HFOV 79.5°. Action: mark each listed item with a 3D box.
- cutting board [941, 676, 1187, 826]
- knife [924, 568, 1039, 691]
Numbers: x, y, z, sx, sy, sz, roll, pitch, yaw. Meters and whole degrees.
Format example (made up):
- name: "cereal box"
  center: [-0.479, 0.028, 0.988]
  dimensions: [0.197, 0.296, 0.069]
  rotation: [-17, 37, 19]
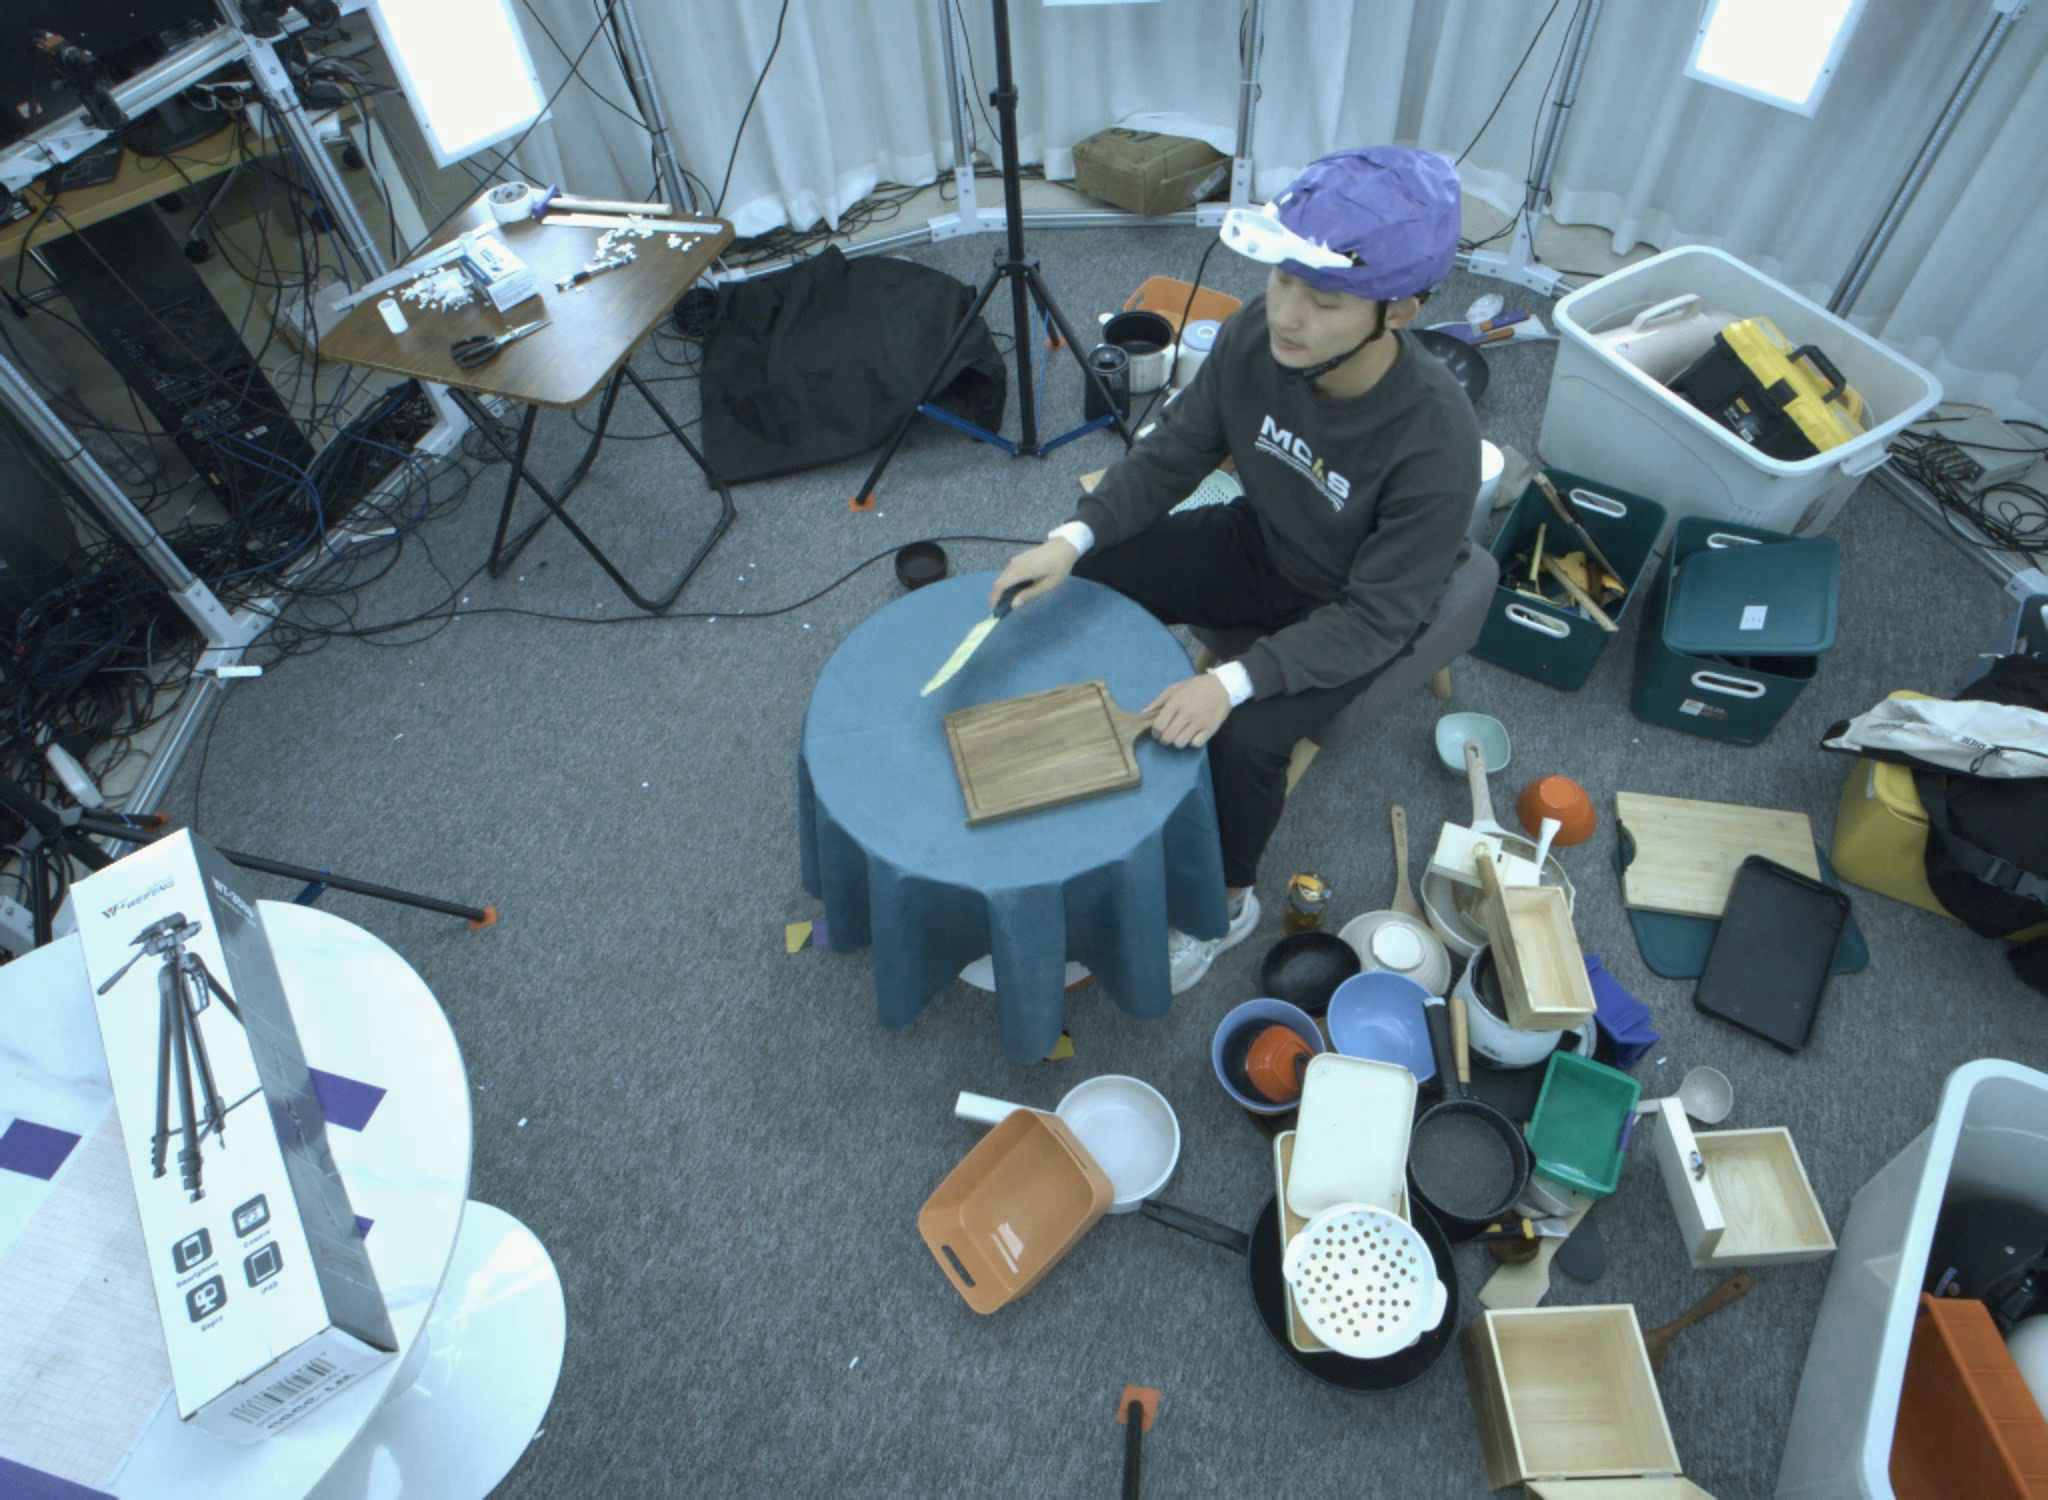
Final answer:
- name: "cutting board"
  center: [0.070, -0.014, 1.790]
  dimensions: [0.354, 0.023, 0.198]
  rotation: [-14, 56, -8]
- name: "knife"
  center: [-0.065, -0.183, 1.856]
  dimensions: [0.079, 0.027, 0.291]
  rotation: [-11, 33, 52]
